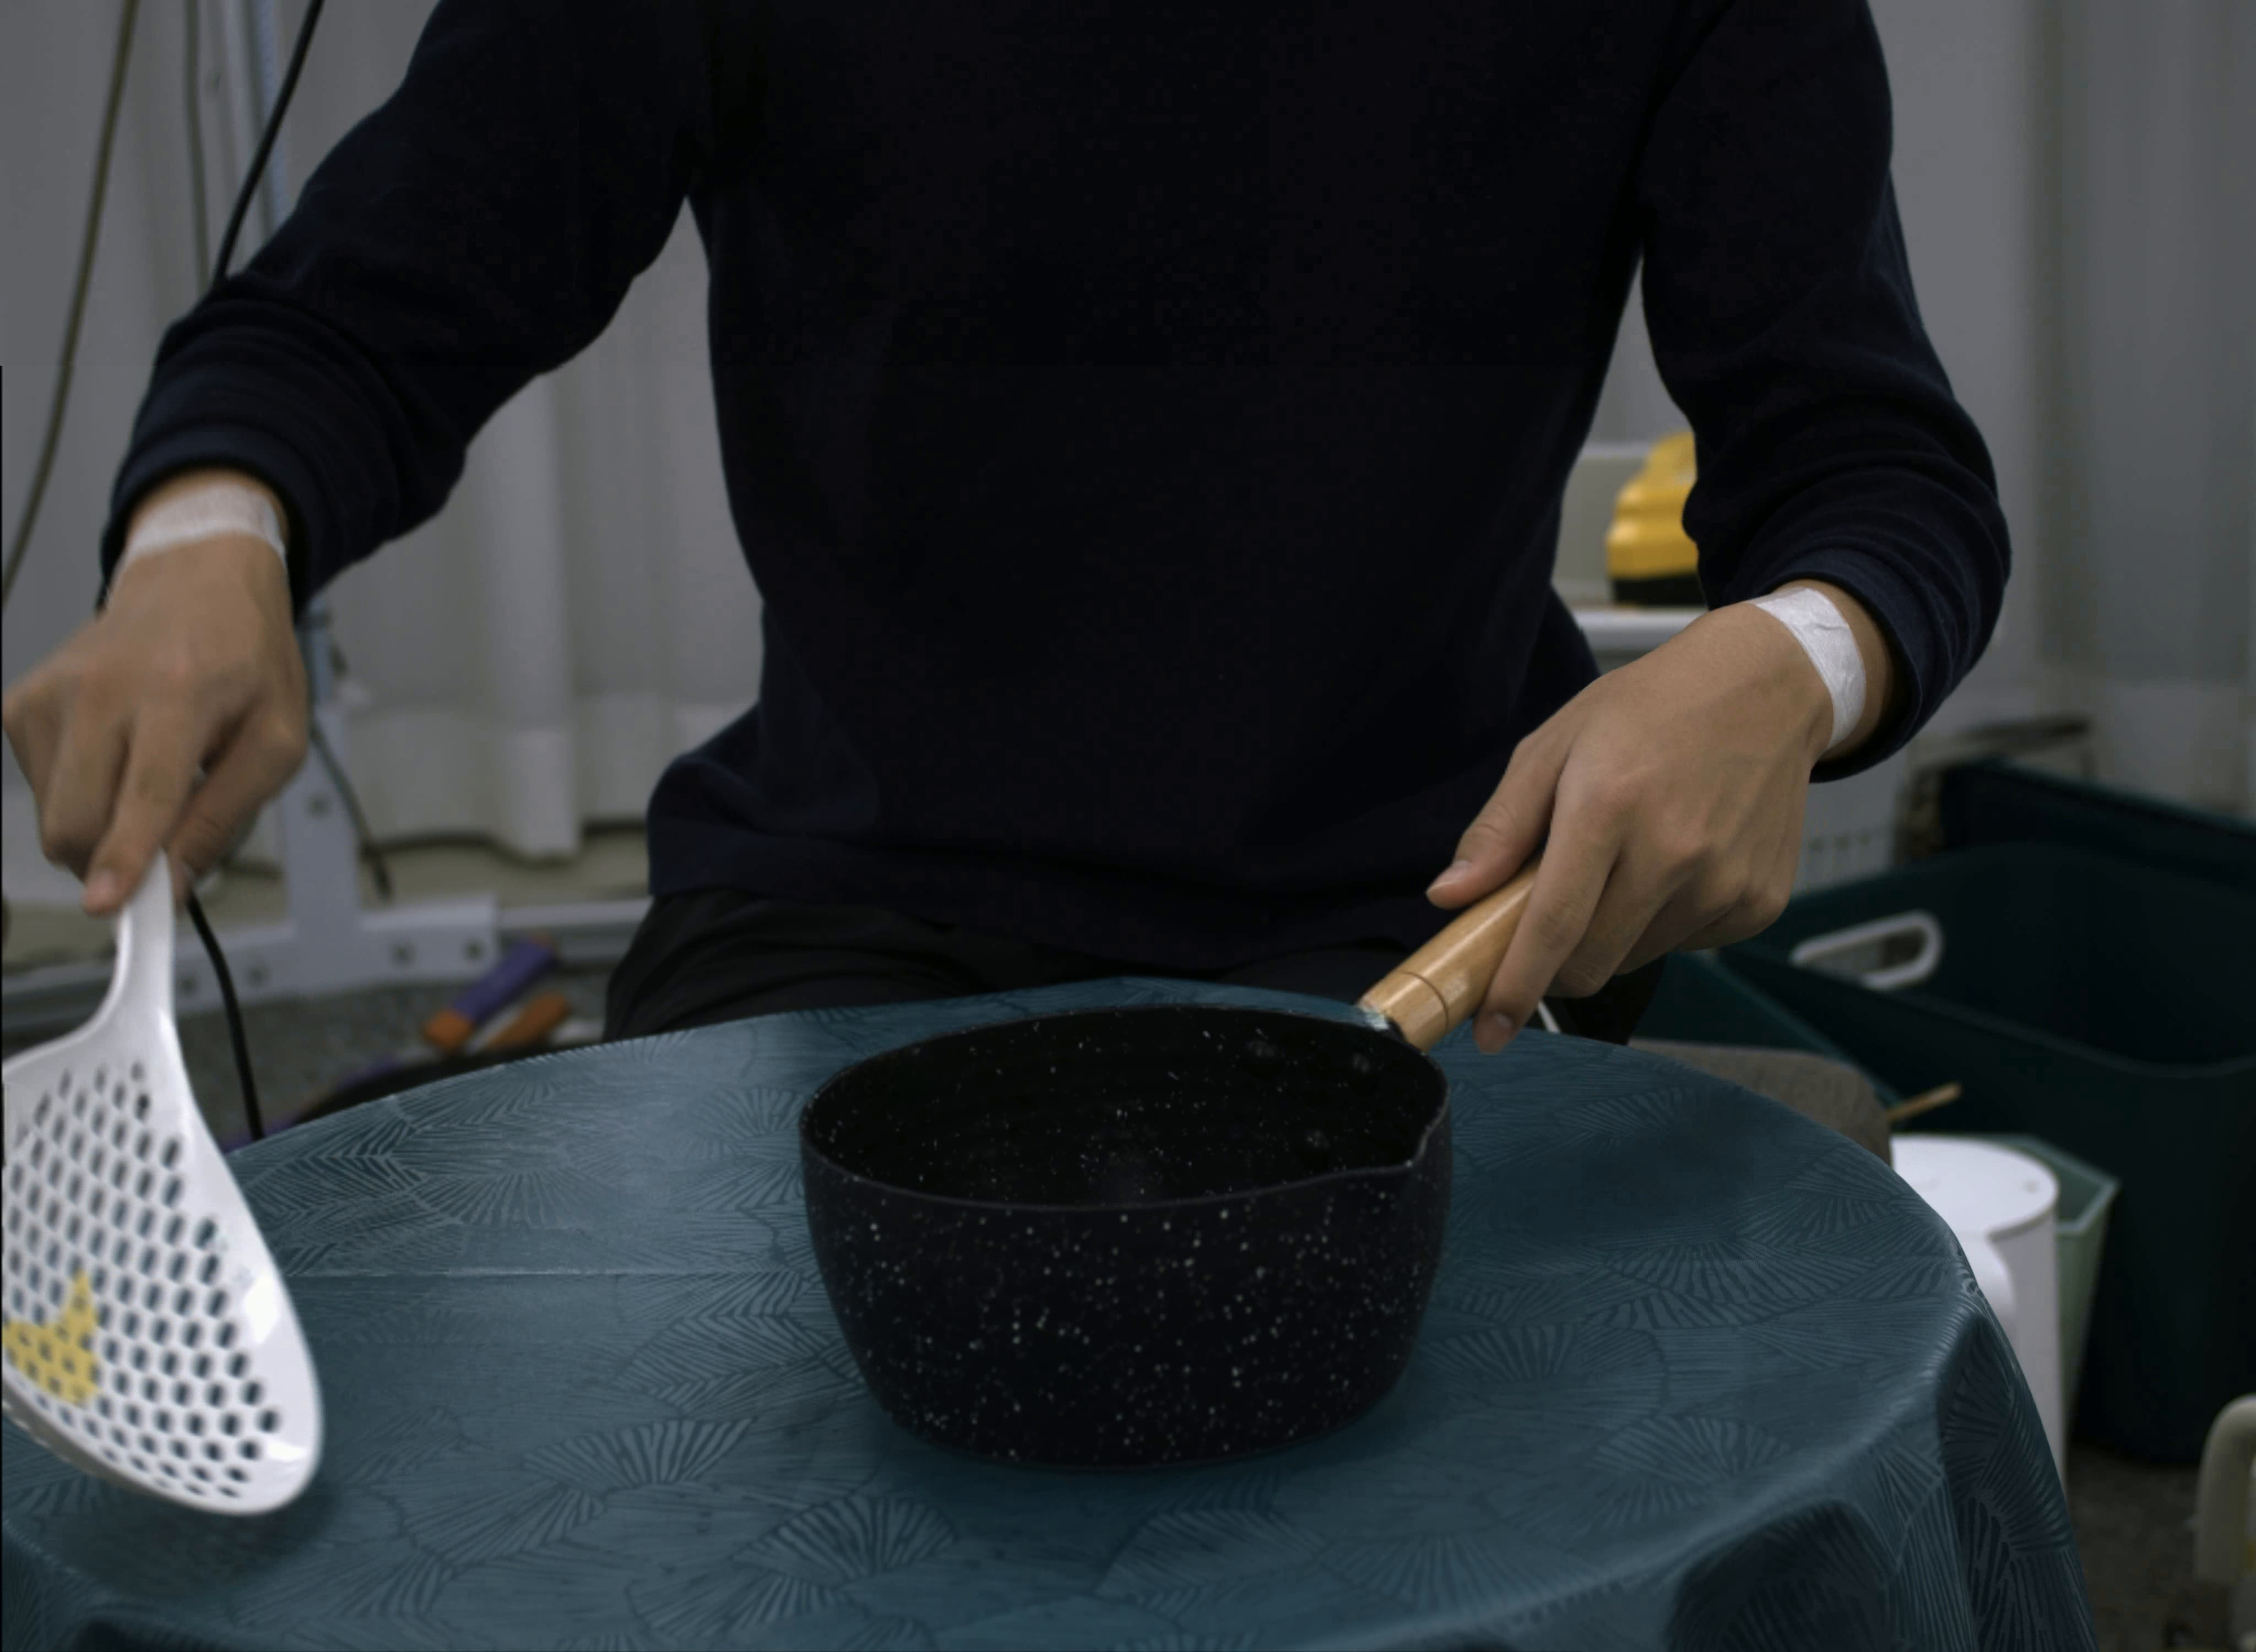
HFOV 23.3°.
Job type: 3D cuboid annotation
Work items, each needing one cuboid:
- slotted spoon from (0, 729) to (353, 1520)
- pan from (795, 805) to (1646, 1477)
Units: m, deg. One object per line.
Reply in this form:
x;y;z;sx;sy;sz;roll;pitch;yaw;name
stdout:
-0.287;0.072;1.562;0.135;0.050;0.353;33;28;-28;slotted spoon
0.049;0.087;1.601;0.208;0.108;0.343;7;19;38;pan
